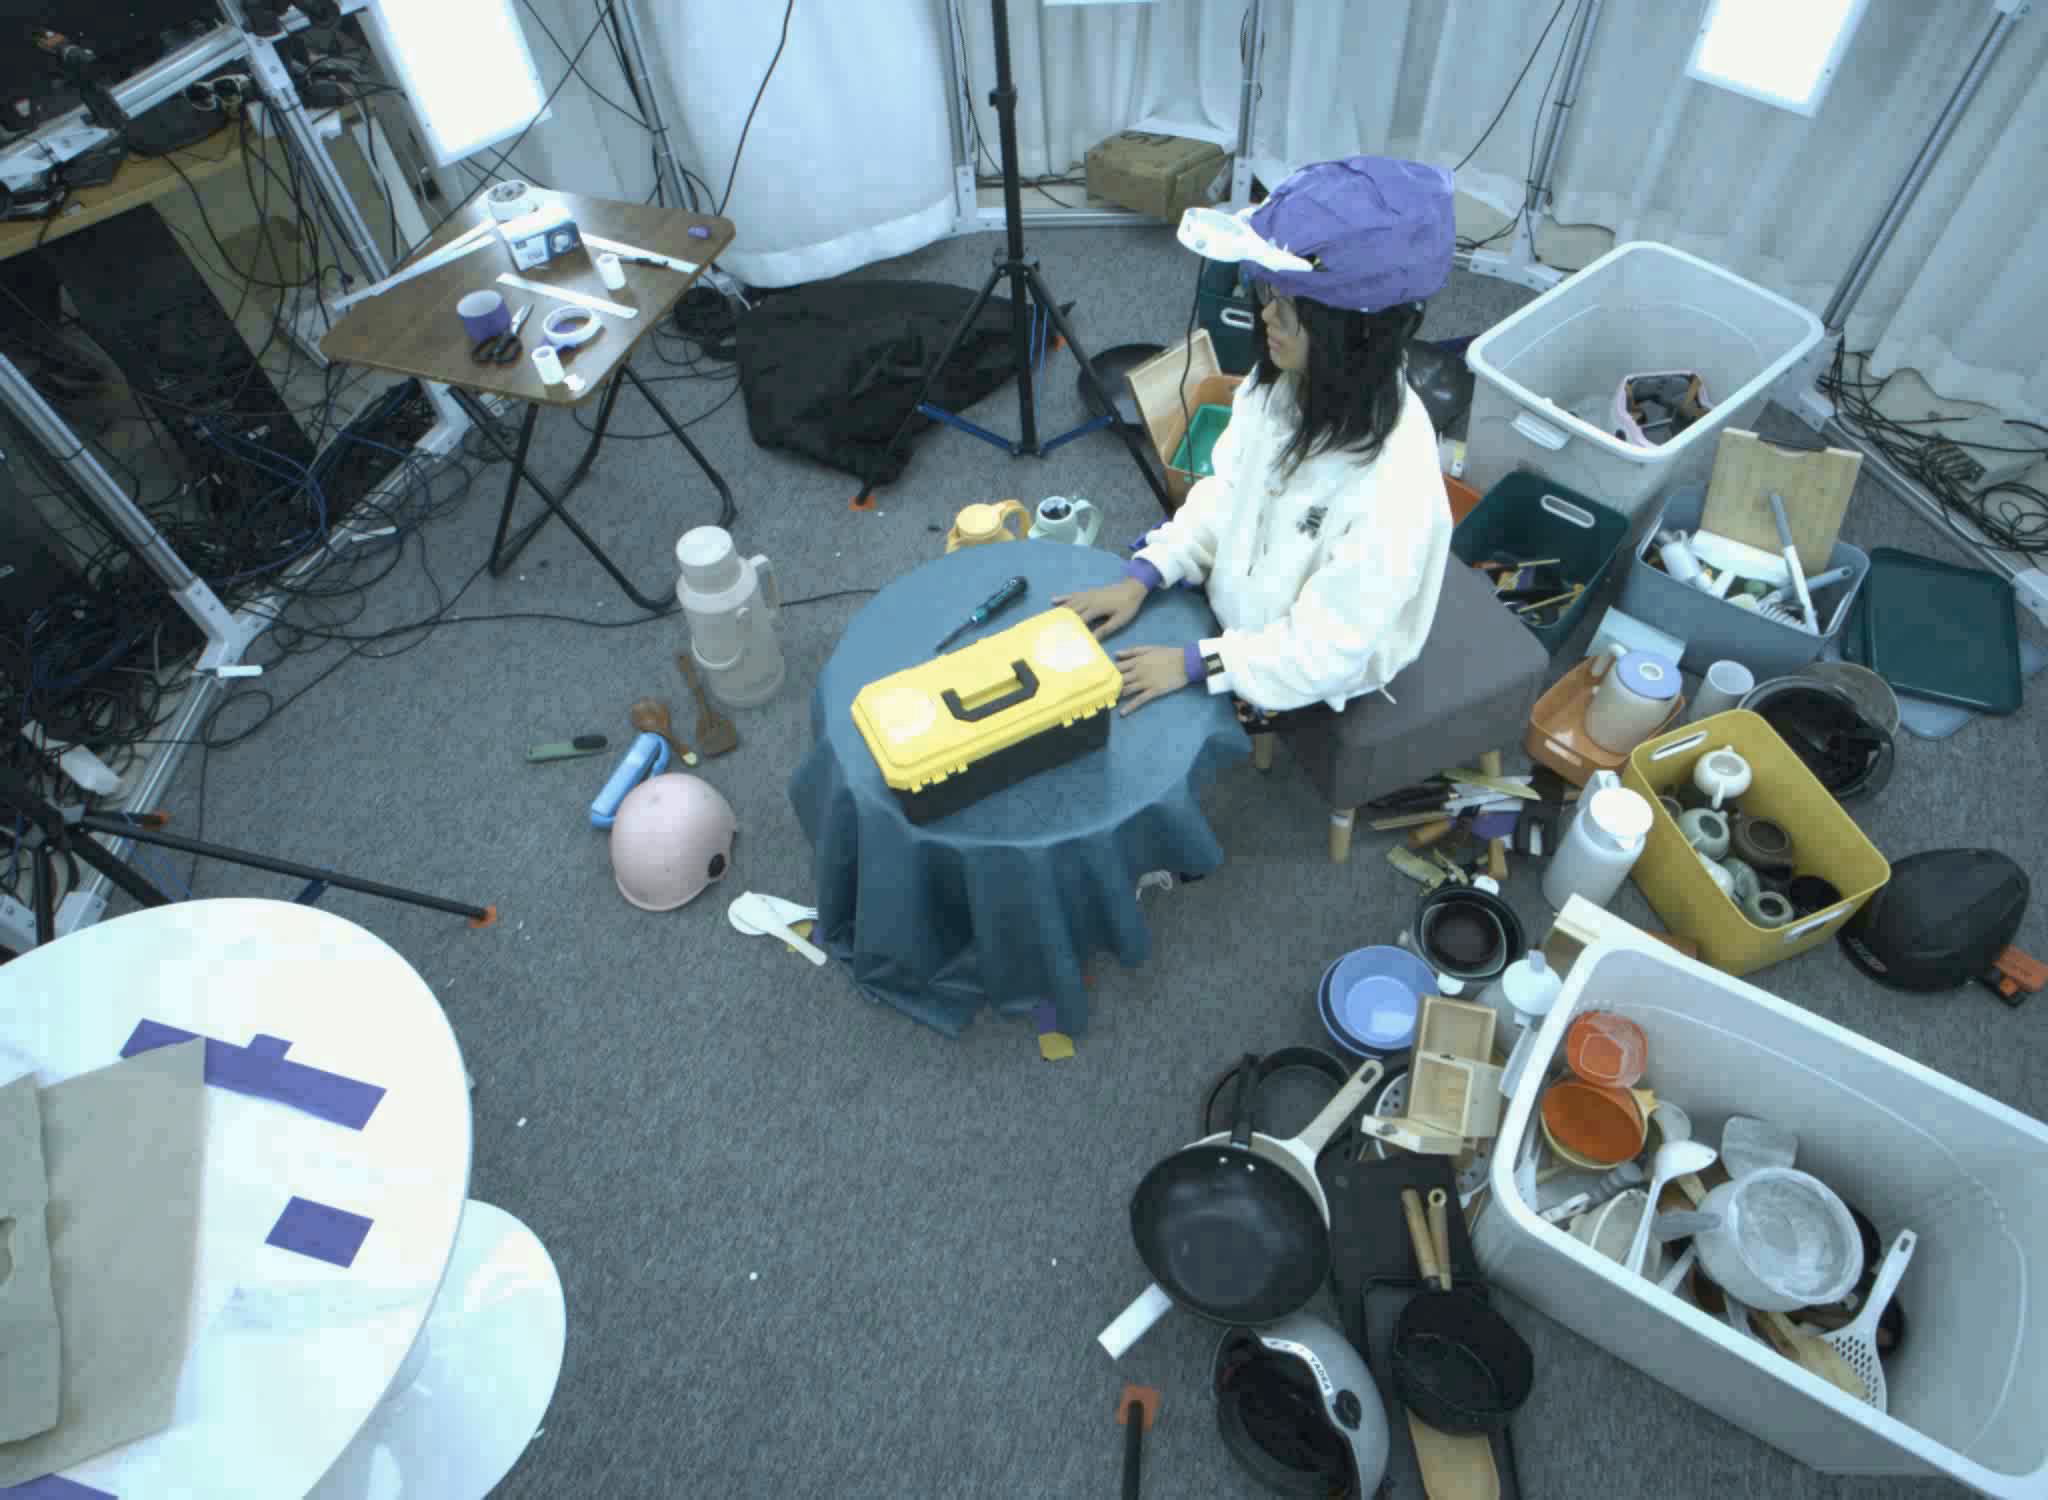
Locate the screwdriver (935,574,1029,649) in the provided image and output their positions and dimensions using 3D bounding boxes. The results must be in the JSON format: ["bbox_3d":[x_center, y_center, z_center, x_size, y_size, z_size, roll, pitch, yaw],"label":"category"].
[{"bbox_3d":[-0.068,-0.215,1.928,0.191,0.034,0.033,-41,62,-18],"label":"screwdriver"}]

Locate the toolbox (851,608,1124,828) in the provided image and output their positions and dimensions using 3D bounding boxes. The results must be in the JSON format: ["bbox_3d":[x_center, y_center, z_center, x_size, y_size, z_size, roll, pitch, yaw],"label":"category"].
[{"bbox_3d":[-0.047,-0.044,1.714,0.354,0.175,0.178,-23,57,-13],"label":"toolbox"}]
